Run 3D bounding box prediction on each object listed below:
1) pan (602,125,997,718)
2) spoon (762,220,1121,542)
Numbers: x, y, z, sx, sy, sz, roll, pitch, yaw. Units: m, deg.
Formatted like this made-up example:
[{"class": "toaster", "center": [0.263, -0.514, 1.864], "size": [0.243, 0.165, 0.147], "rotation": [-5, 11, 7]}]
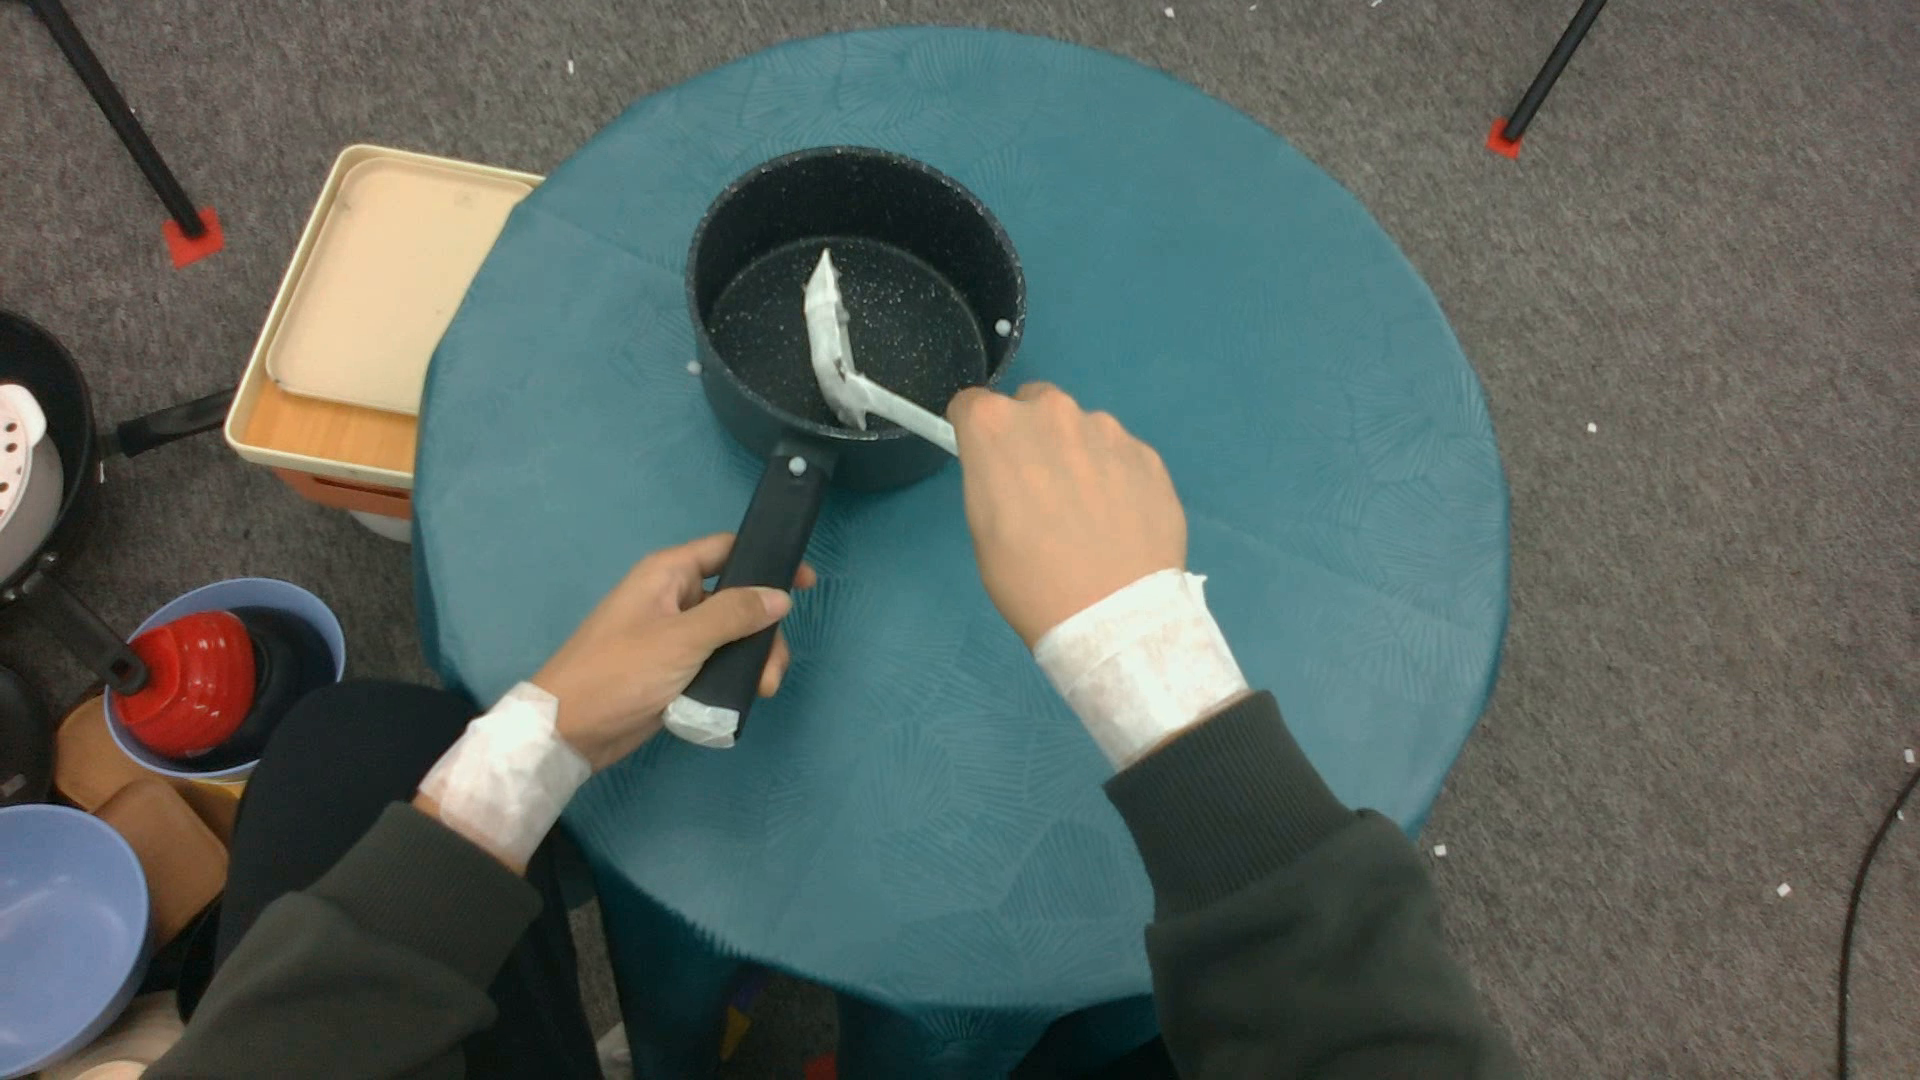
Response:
[{"class": "pan", "center": [-0.093, -0.056, 0.684], "size": [0.172, 0.086, 0.330], "rotation": [19, 64, -1]}, {"class": "spoon", "center": [-0.012, -0.075, 0.612], "size": [0.059, 0.100, 0.277], "rotation": [-40, 44, -20]}]
